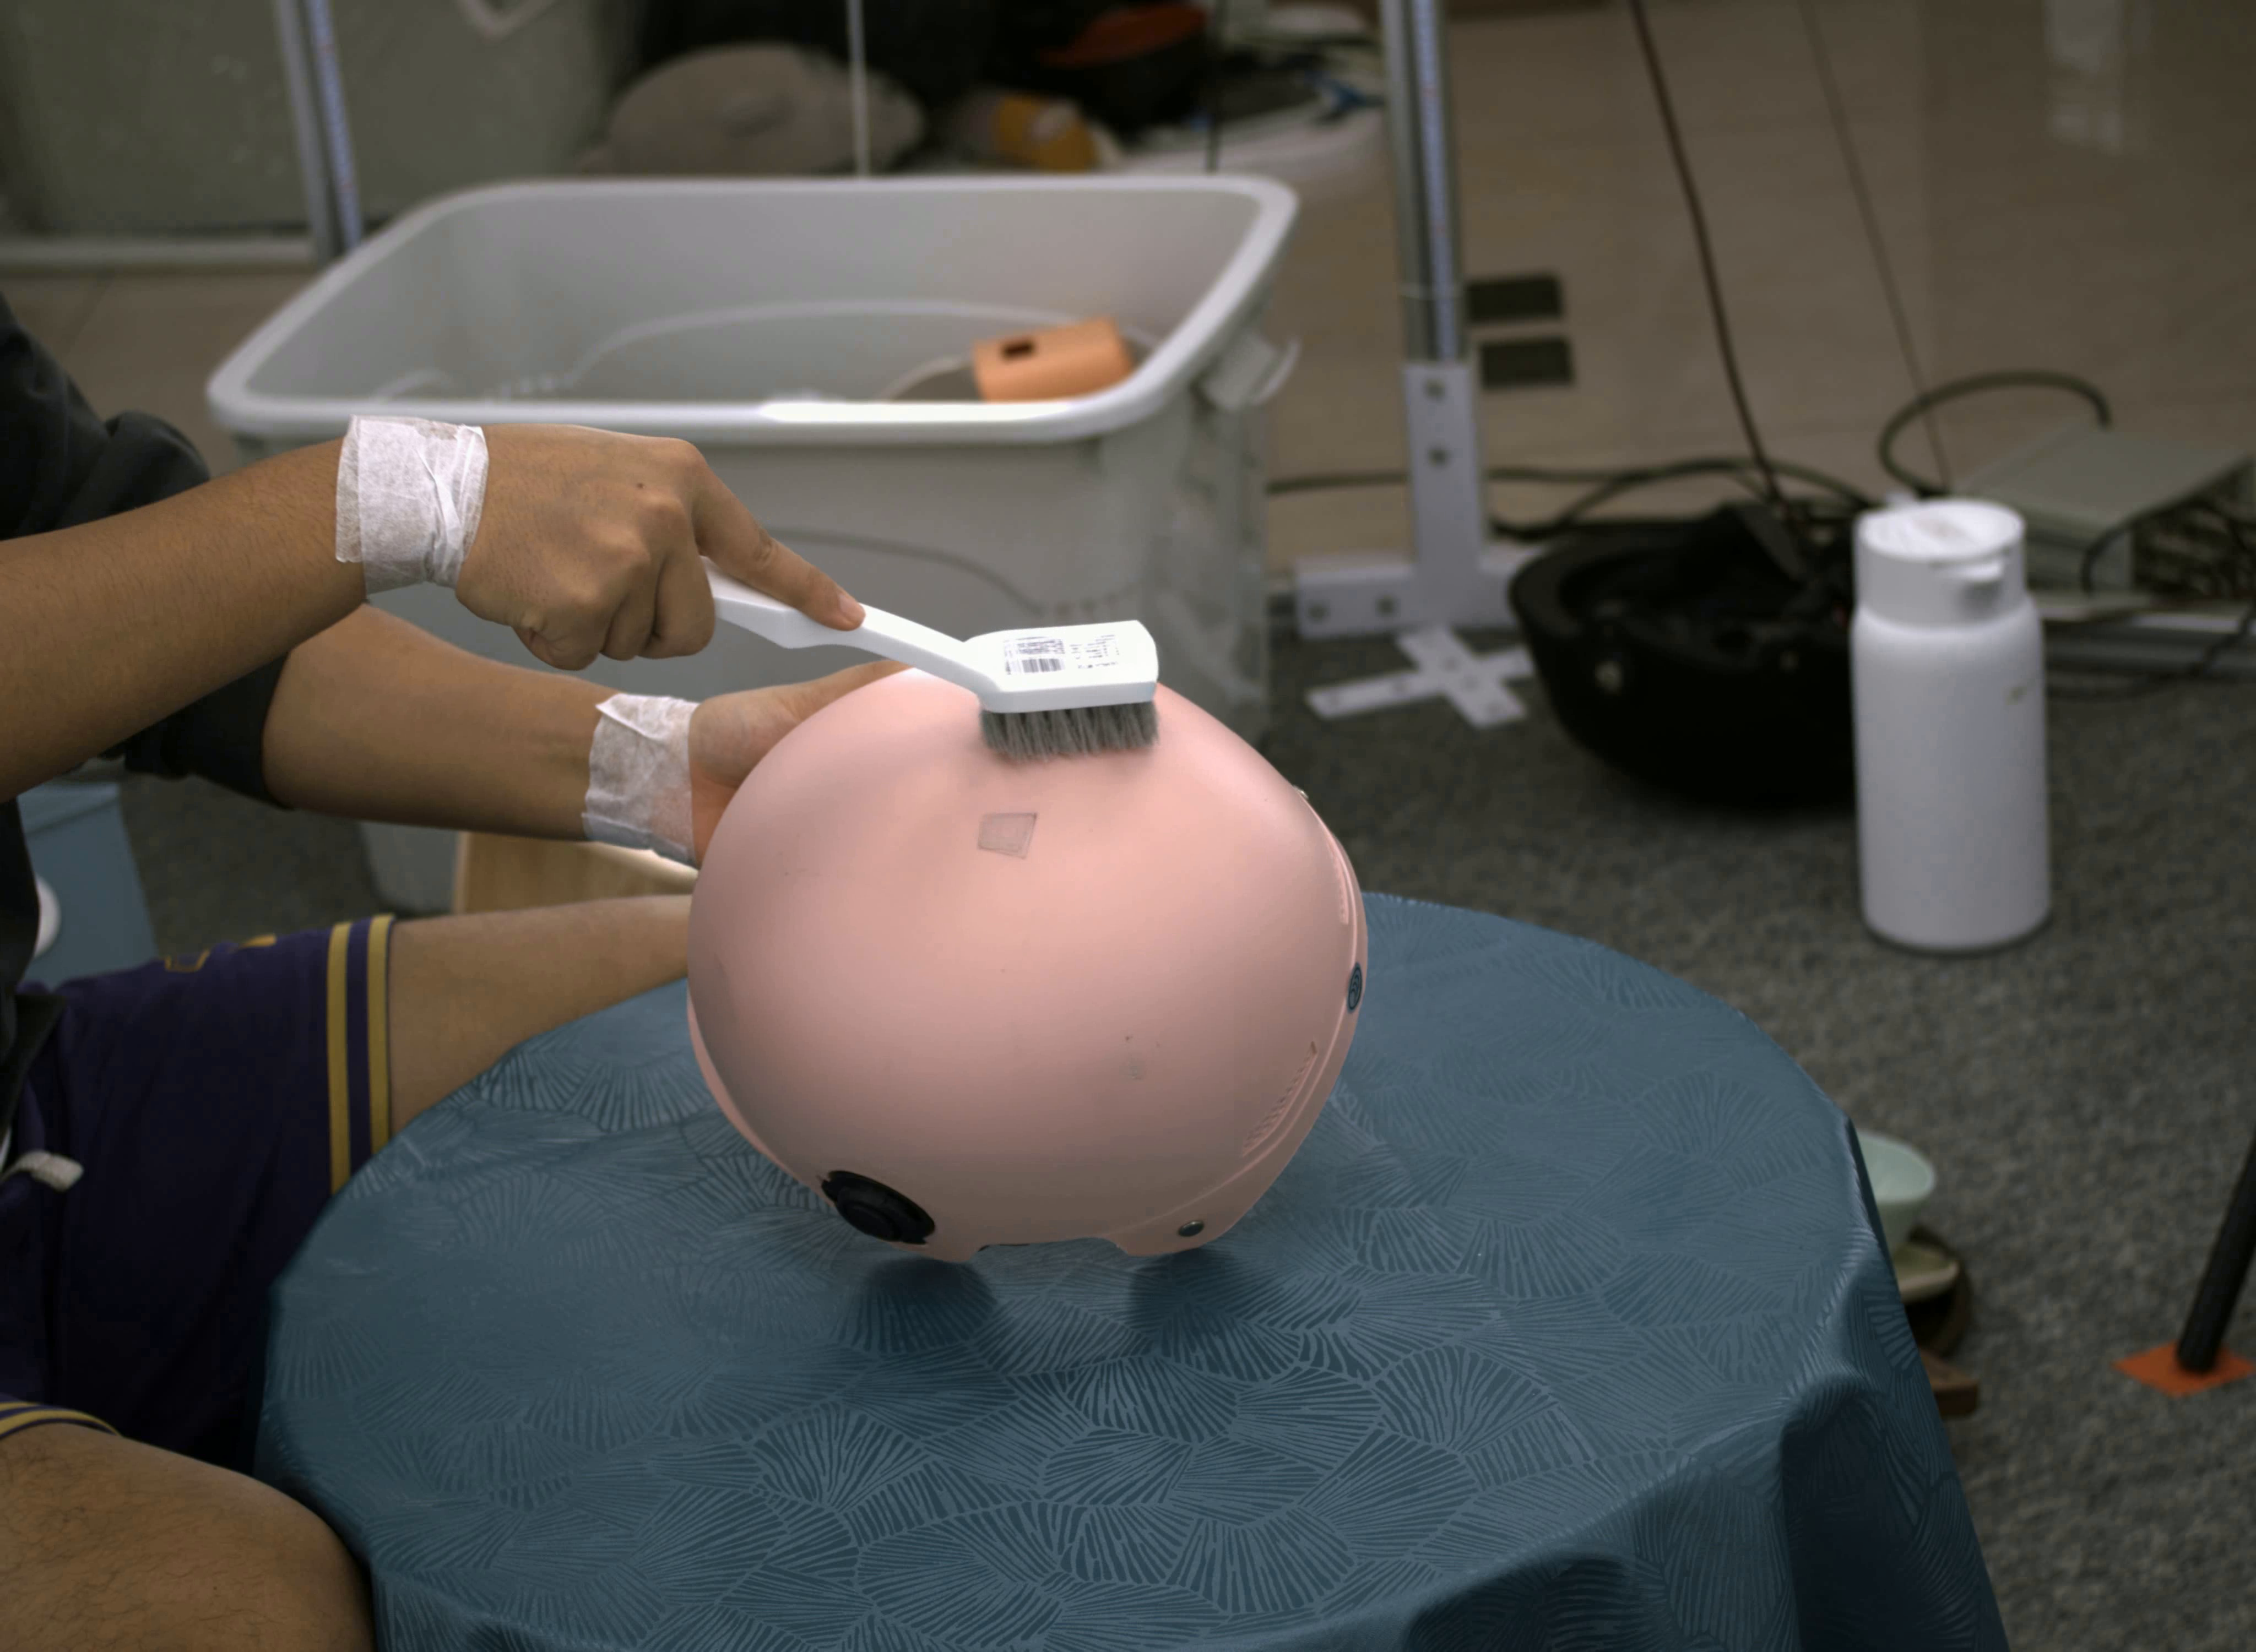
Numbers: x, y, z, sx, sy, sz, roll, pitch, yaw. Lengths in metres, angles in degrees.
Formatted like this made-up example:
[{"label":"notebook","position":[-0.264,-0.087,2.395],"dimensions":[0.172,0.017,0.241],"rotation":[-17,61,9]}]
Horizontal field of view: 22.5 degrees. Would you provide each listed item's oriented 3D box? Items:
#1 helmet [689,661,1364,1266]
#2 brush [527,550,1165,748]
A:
[{"label":"helmet","position":[-0.052,0.033,2.083],"dimensions":[0.265,0.161,0.232],"rotation":[7,71,17]},{"label":"brush","position":[-0.098,-0.061,1.978],"dimensions":[0.244,0.051,0.034],"rotation":[6,41,-23]}]
